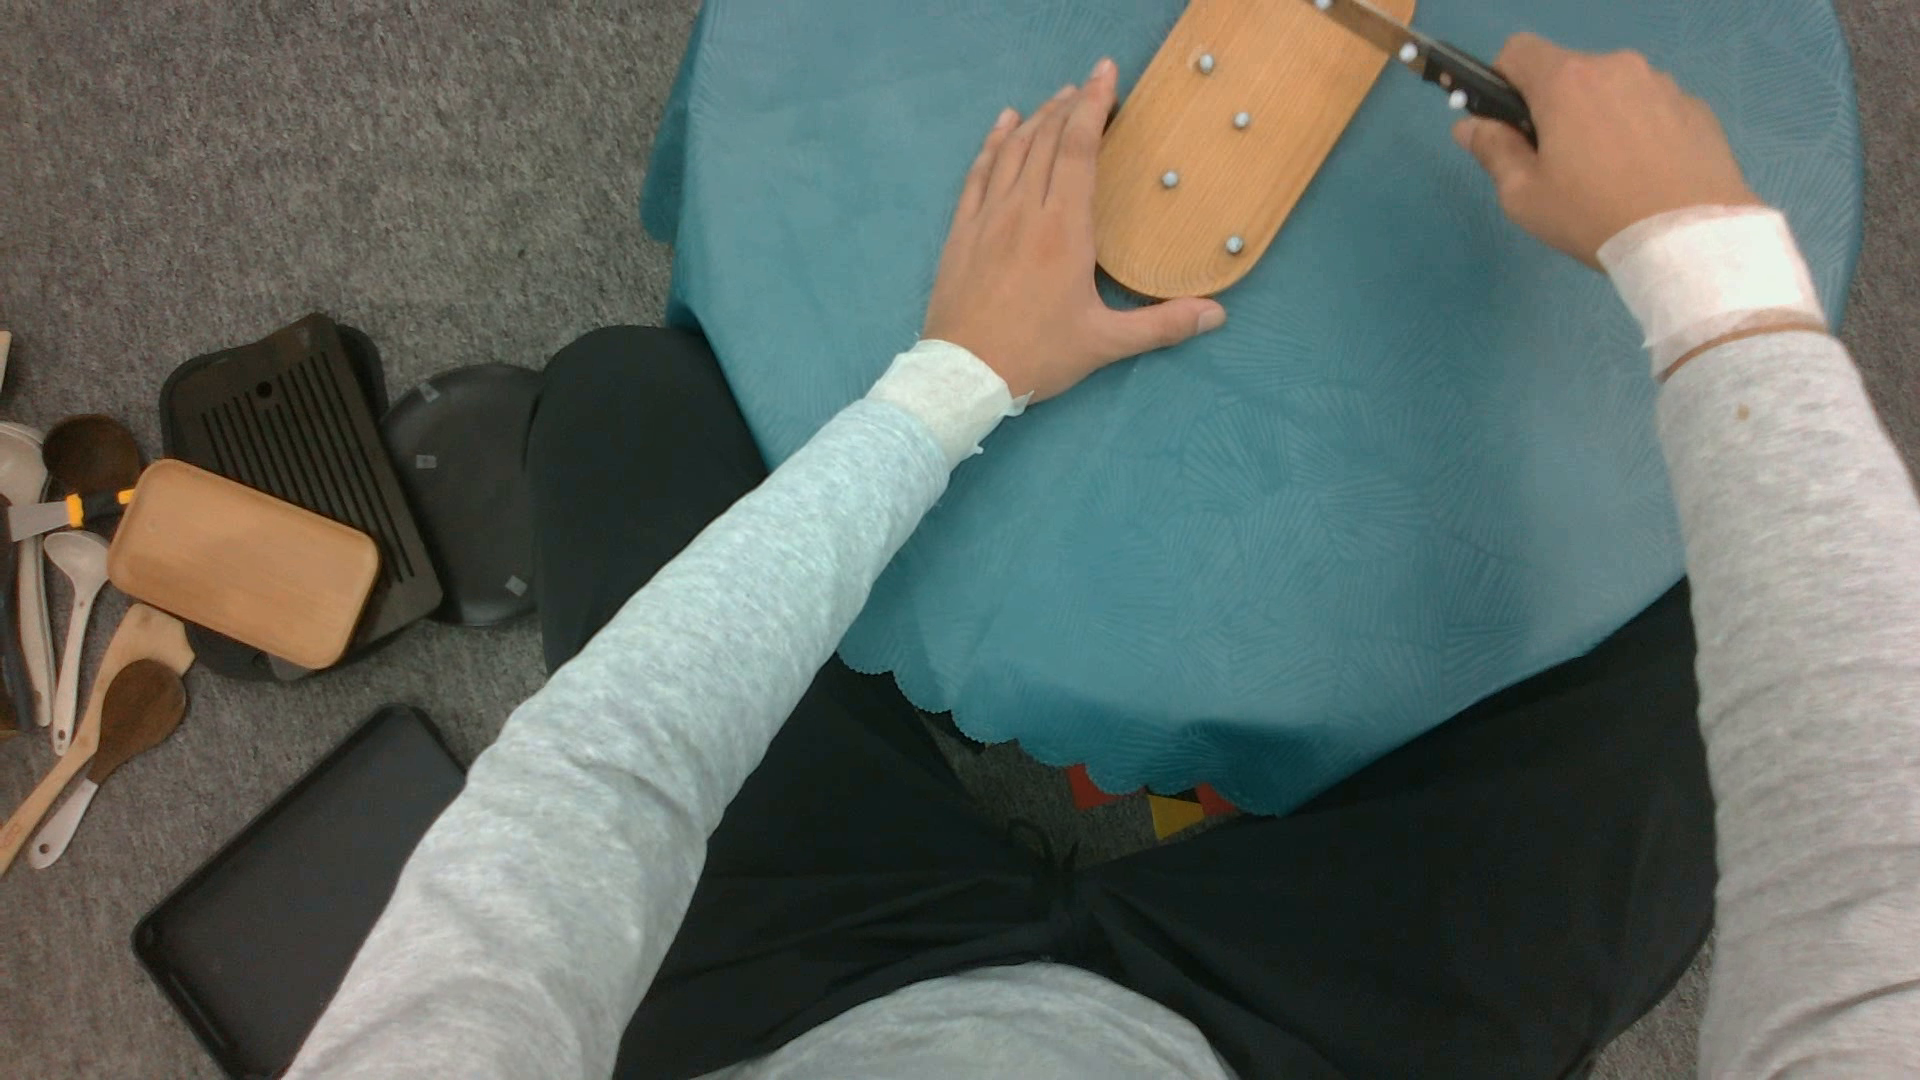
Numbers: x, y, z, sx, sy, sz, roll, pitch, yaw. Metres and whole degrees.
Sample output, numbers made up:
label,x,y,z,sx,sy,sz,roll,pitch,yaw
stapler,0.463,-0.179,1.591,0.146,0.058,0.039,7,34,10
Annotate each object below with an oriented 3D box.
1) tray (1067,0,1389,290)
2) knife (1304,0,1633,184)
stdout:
label,x,y,z,sx,sy,sz,roll,pitch,yaw
tray,0.138,-0.232,0.708,0.101,0.020,0.231,30,82,4
knife,0.201,-0.230,0.629,0.238,0.024,0.016,40,83,21
